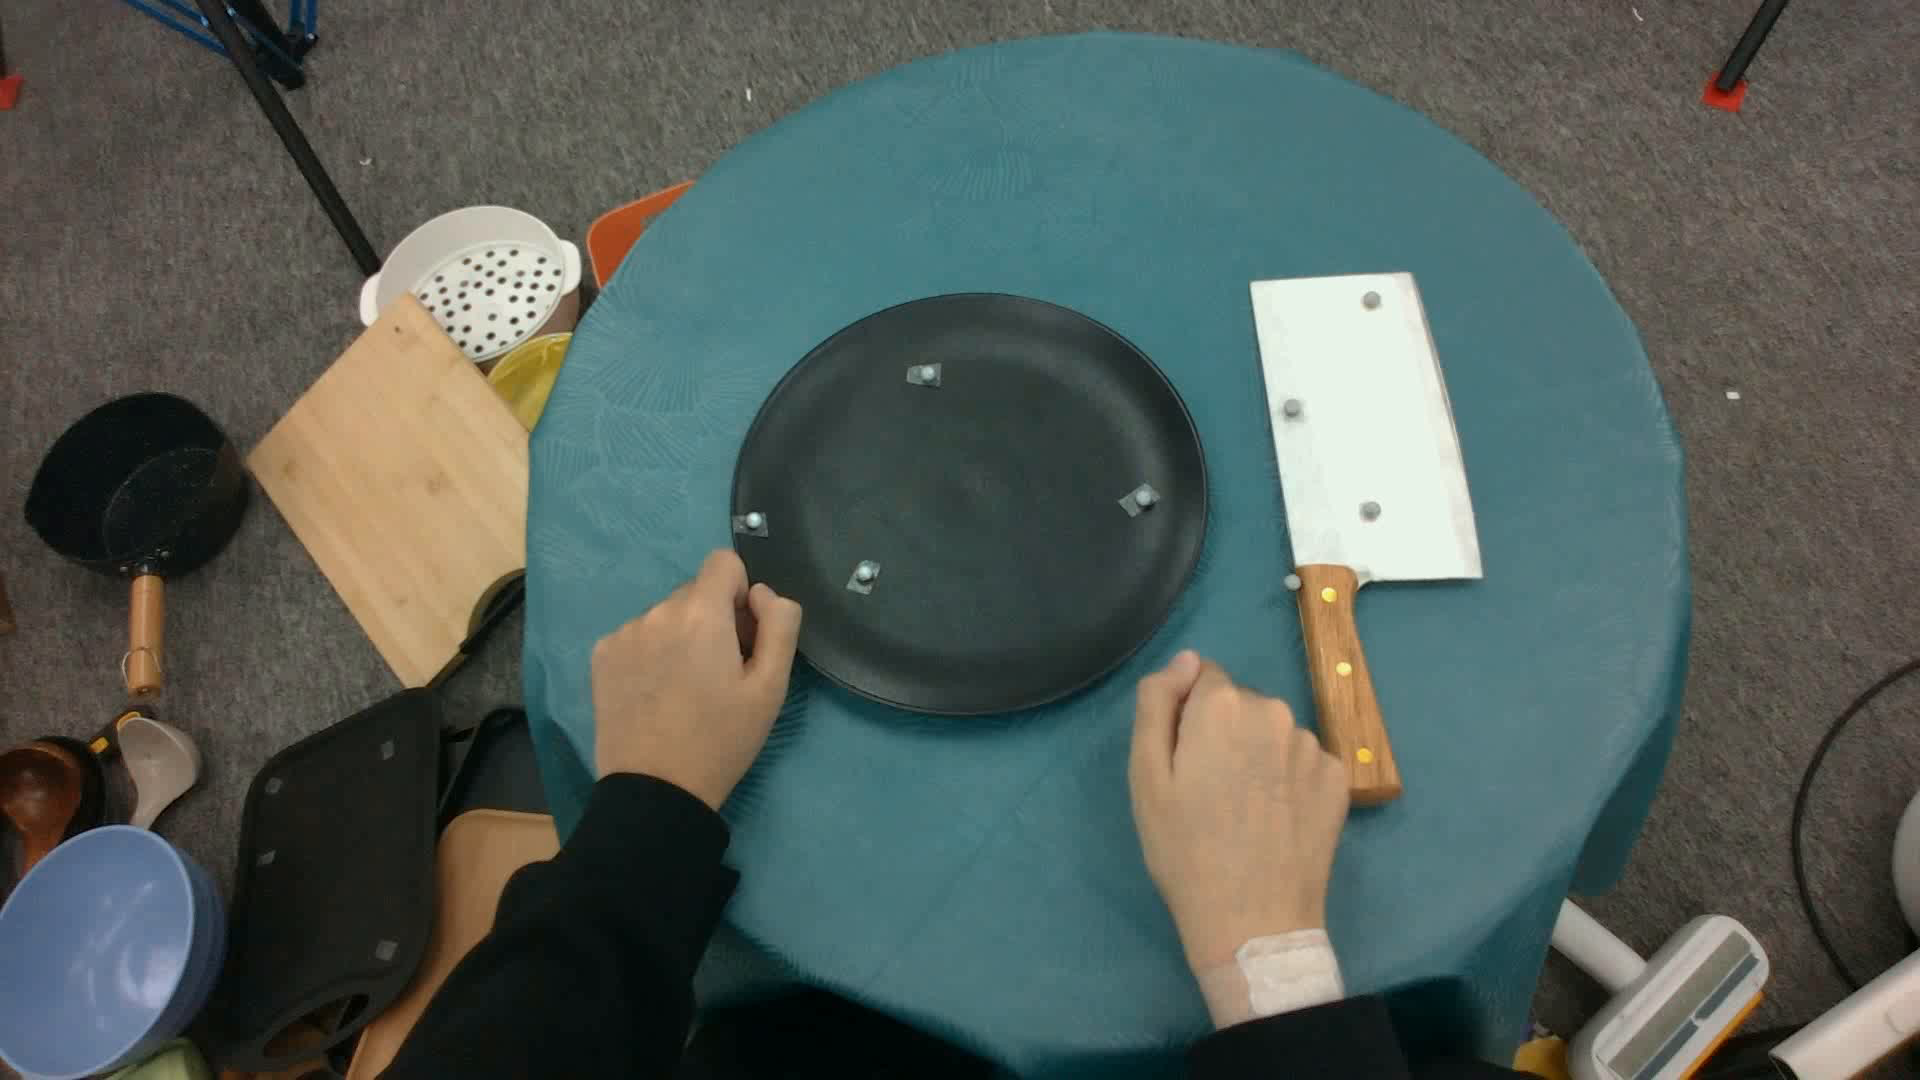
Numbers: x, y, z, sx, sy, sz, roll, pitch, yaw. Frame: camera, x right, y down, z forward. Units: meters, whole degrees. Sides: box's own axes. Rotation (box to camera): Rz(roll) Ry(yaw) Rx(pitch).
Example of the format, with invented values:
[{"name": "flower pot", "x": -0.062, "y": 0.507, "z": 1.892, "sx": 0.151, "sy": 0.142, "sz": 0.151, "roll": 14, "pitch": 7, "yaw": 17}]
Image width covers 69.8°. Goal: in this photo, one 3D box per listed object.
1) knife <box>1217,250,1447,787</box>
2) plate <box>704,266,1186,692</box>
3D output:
[{"name": "knife", "x": 0.193, "y": -0.026, "z": 0.693, "sx": 0.093, "sy": 0.021, "sz": 0.307, "roll": -3, "pitch": 62, "yaw": 0}, {"name": "plate", "x": -0.008, "y": -0.035, "z": 0.702, "sx": 0.244, "sy": 0.023, "sz": 0.245, "roll": -1, "pitch": 64, "yaw": 2}]
